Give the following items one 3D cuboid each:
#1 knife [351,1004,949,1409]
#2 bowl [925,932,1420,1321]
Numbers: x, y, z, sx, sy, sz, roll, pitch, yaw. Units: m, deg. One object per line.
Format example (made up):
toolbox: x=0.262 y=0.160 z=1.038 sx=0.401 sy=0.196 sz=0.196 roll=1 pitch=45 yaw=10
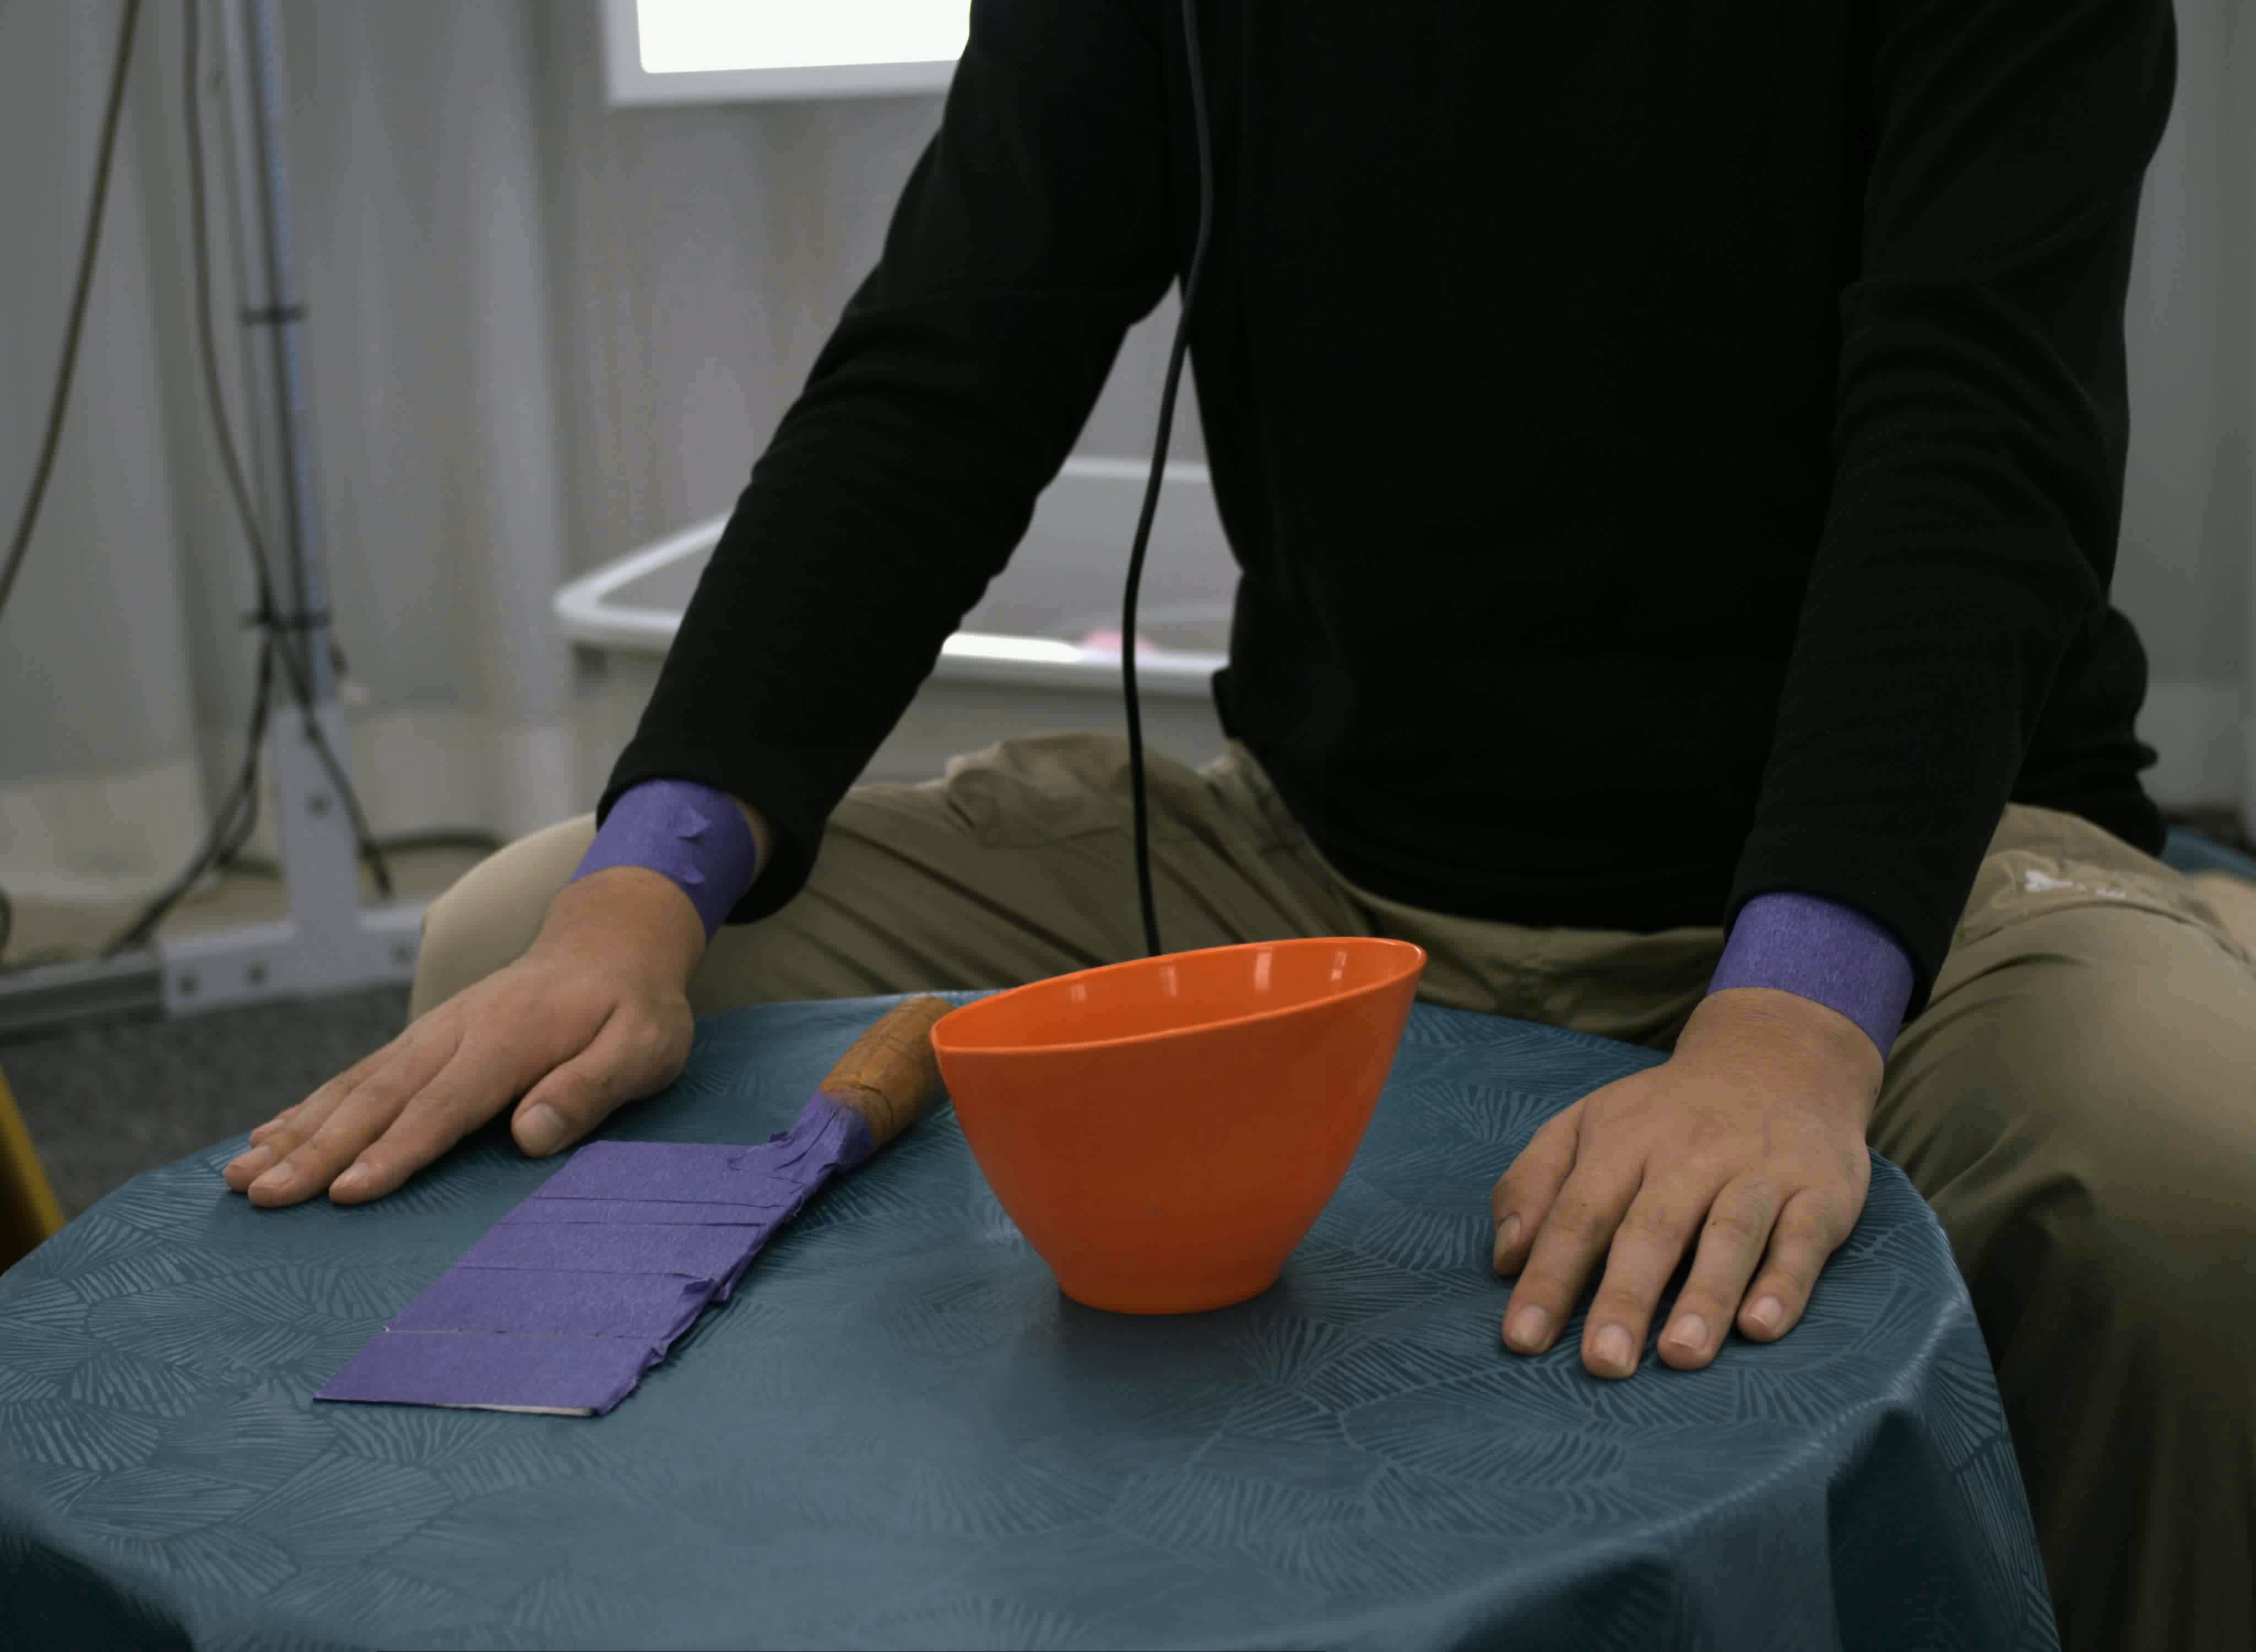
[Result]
knife: x=-0.144 y=0.114 z=1.692 sx=0.104 sy=0.032 sz=0.316 roll=2 pitch=16 yaw=17
bowl: x=0.016 y=0.089 z=1.613 sx=0.147 sy=0.104 sz=0.149 roll=-5 pitch=15 yaw=1
